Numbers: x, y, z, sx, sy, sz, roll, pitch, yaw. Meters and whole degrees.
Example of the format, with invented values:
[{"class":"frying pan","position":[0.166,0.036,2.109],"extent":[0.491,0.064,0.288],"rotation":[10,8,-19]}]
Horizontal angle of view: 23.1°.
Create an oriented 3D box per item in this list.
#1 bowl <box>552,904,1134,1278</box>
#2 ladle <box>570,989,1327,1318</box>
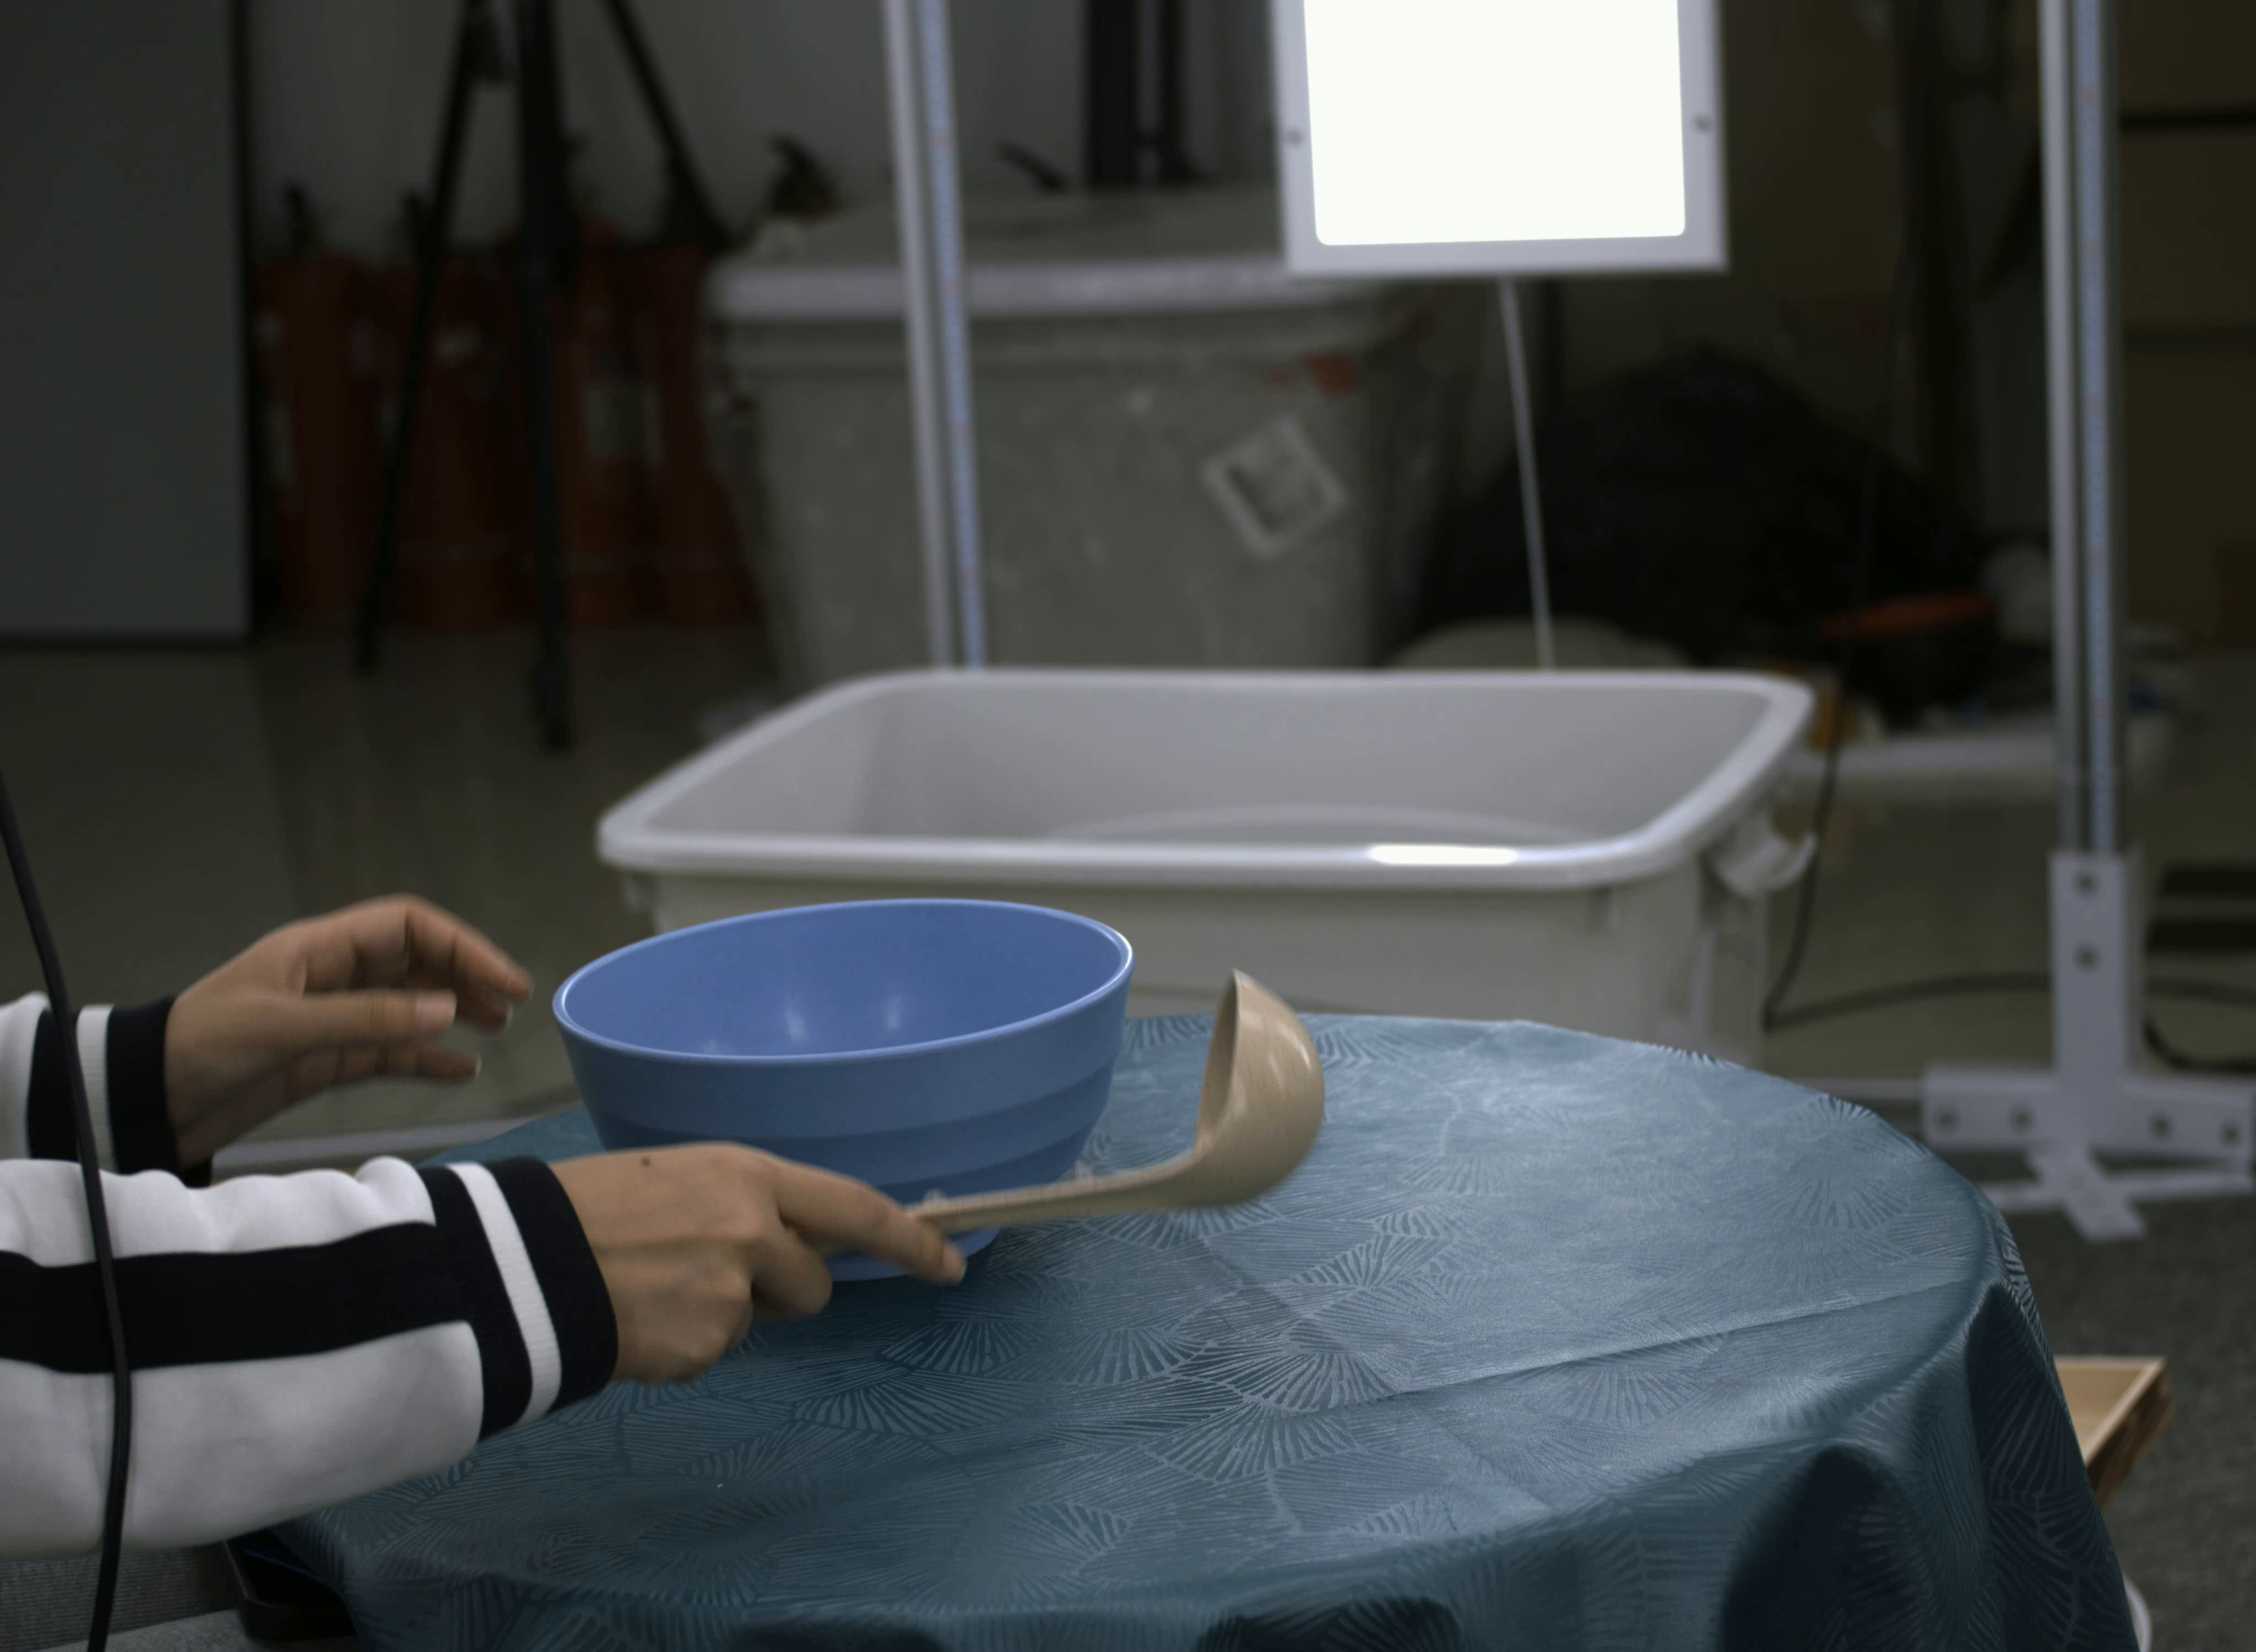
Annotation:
[{"class":"bowl","position":[-0.094,0.094,1.862],"extent":[0.196,0.096,0.196],"rotation":[-3,12,-1]},{"class":"ladle","position":[-0.059,0.099,1.665],"extent":[0.249,0.073,0.073],"rotation":[-7,49,-22]}]
